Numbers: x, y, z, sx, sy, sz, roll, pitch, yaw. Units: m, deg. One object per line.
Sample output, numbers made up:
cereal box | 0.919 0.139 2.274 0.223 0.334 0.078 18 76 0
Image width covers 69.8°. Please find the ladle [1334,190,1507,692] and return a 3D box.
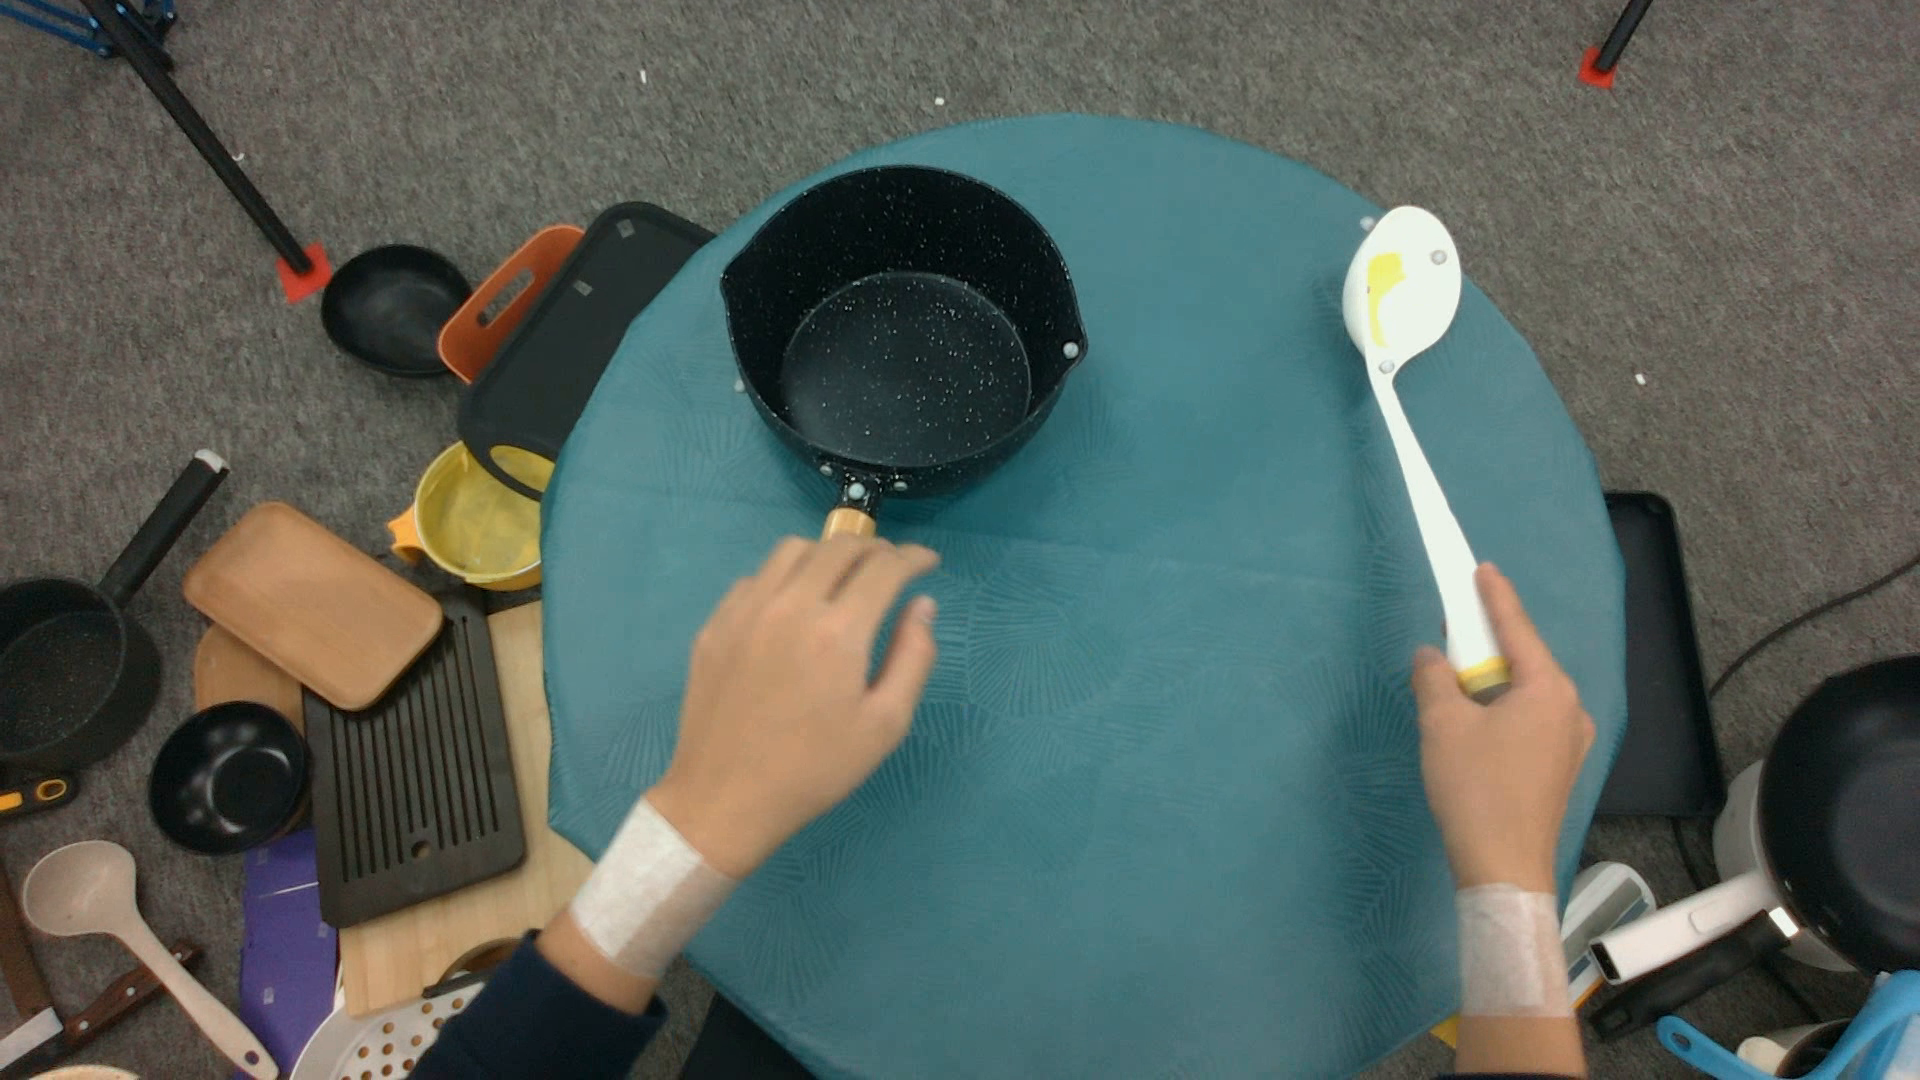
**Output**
ladle | 0.255 -0.061 0.739 0.069 0.090 0.294 -27 49 30

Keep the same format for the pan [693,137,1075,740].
pan | -0.054 -0.051 0.723 0.207 0.108 0.344 10 68 1
